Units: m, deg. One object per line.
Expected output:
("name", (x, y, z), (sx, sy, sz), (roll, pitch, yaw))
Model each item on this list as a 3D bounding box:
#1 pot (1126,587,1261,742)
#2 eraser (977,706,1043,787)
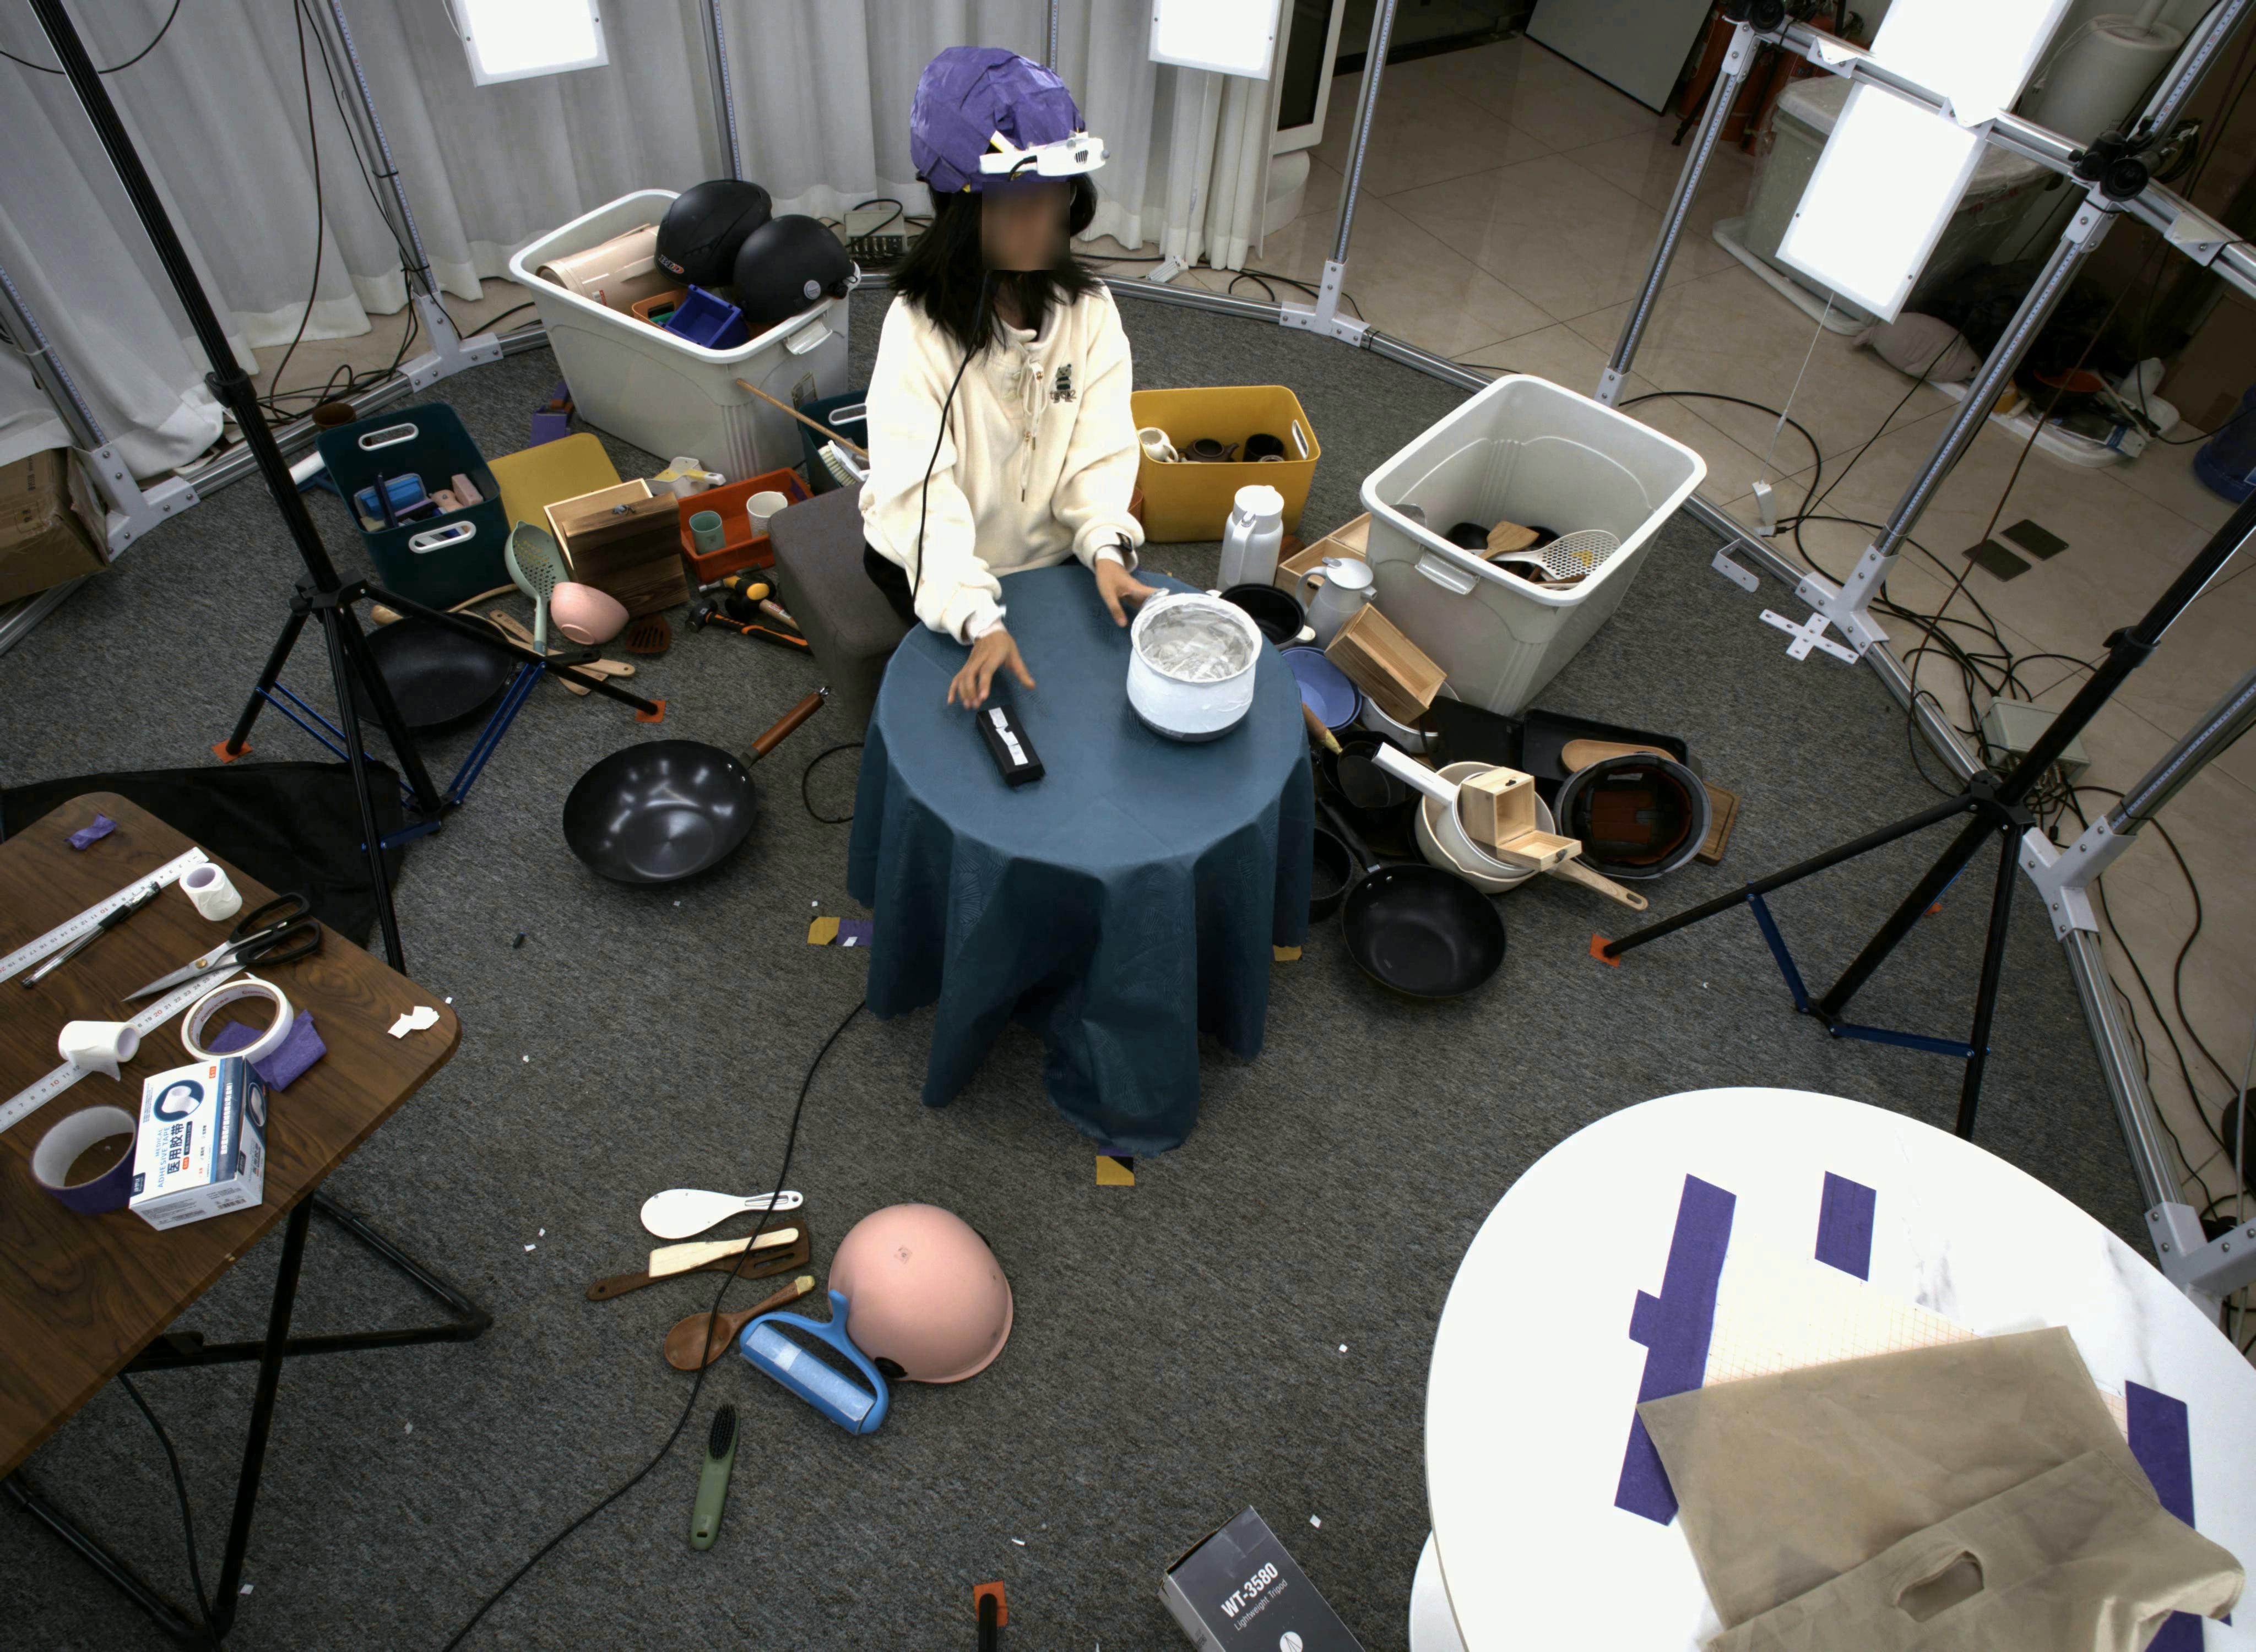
("pot", (0.075, -0.235, 1.790), (0.179, 0.133, 0.239), (-19, 54, -19))
("eraser", (-0.160, -0.109, 1.736), (0.053, 0.030, 0.128), (-15, 51, -17))
